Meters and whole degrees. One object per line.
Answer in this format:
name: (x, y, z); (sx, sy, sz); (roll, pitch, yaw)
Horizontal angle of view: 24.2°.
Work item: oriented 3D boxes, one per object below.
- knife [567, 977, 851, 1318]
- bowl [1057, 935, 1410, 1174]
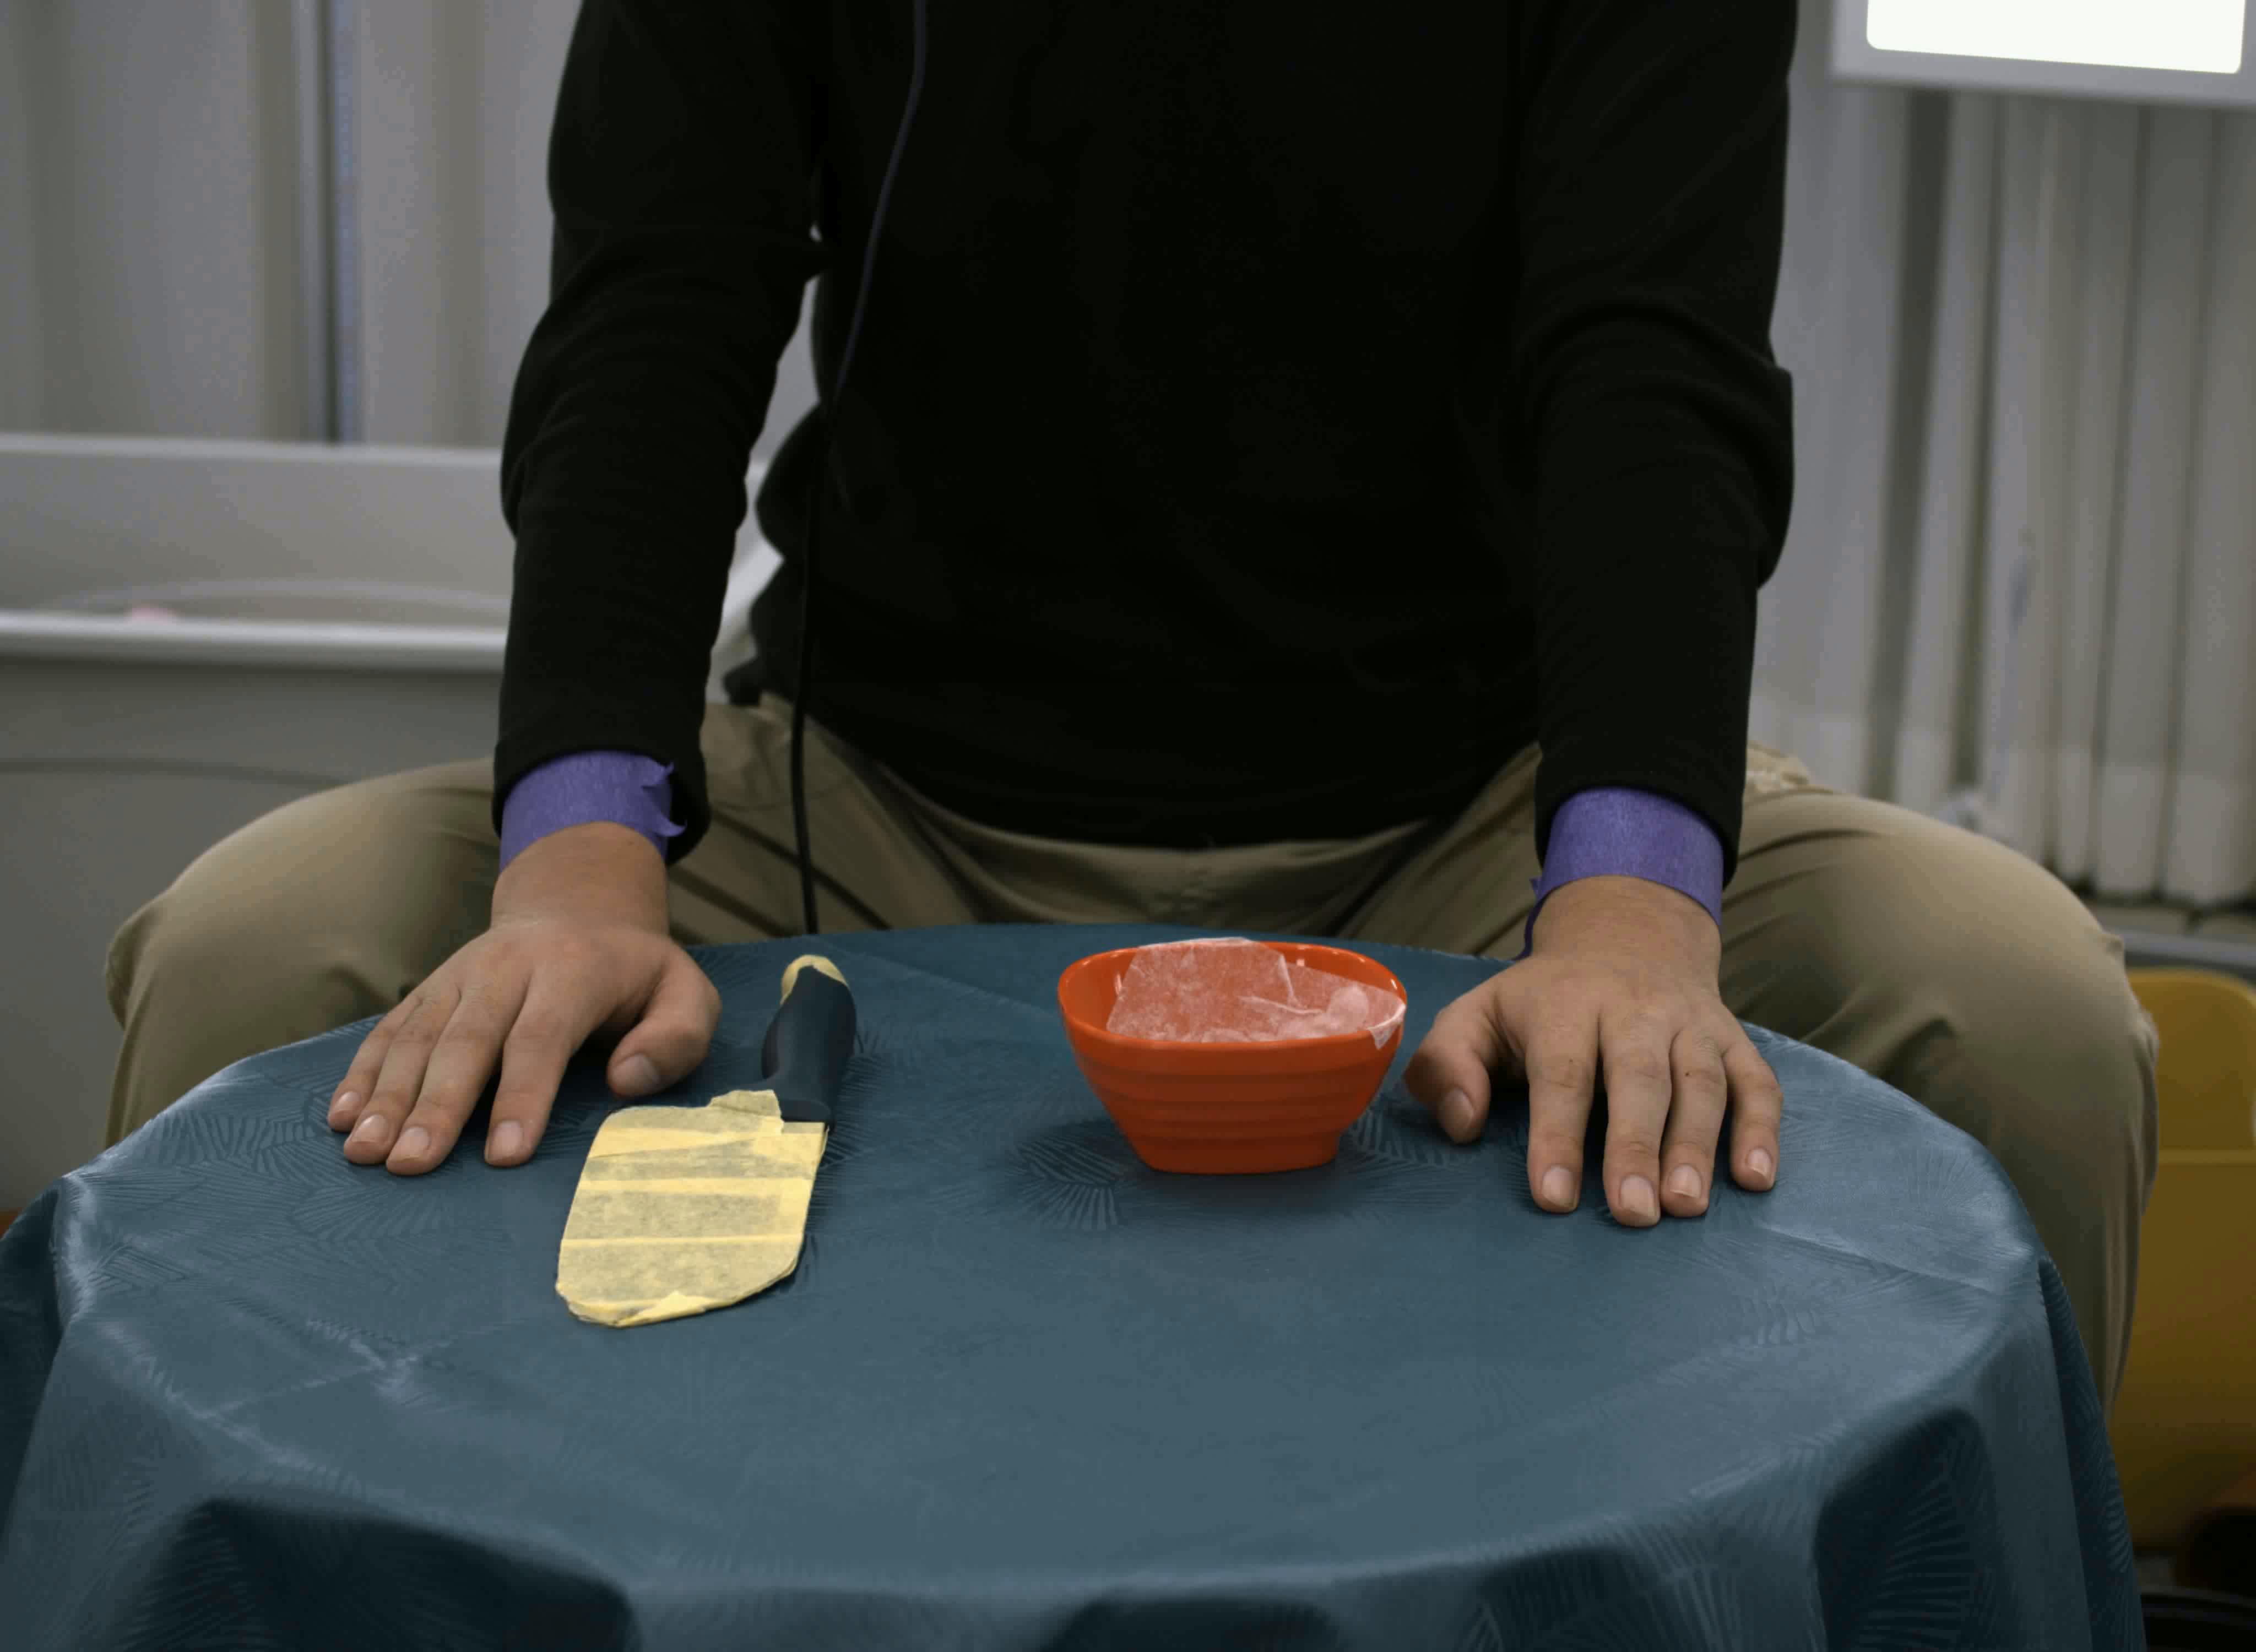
knife: (-0.127, 0.099, 1.640); (0.080, 0.027, 0.288); (3, 17, 4)
bowl: (0.033, 0.074, 1.663); (0.118, 0.052, 0.118); (-1, 17, 1)
